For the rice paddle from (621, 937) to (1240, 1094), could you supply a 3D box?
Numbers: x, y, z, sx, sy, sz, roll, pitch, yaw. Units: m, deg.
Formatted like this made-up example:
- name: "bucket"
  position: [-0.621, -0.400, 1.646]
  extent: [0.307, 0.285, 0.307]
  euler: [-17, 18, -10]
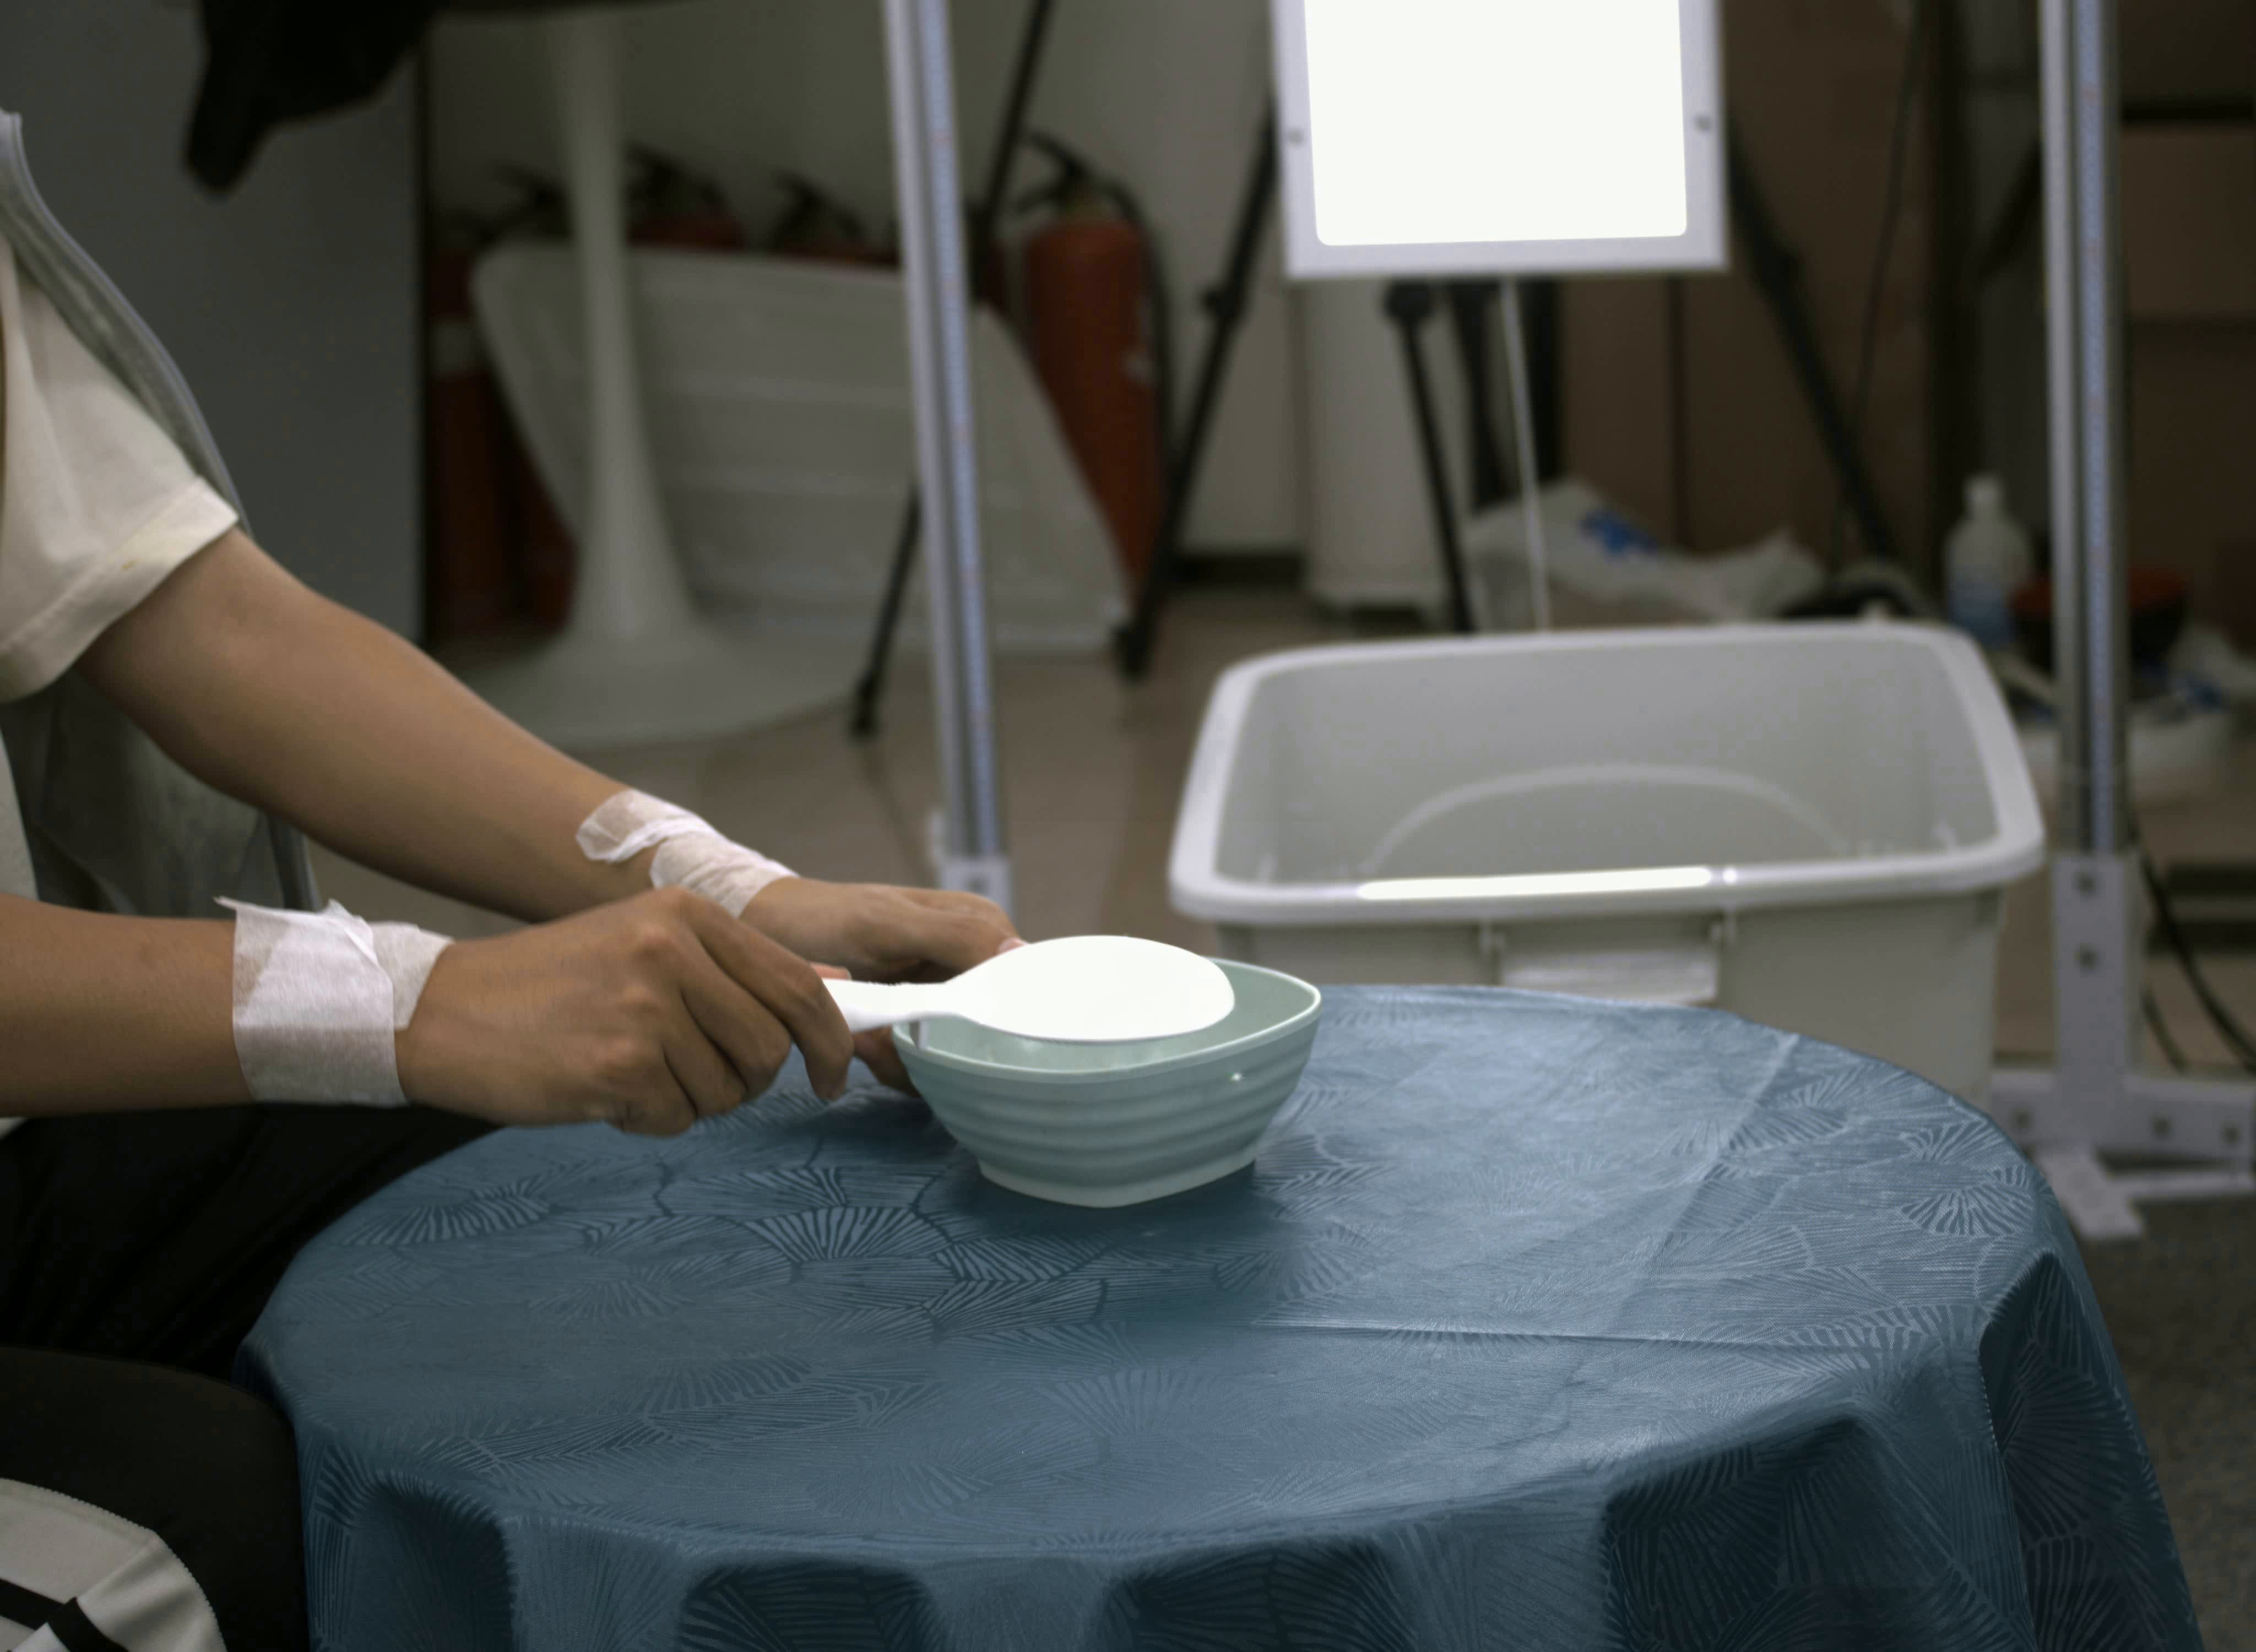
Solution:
- name: "rice paddle"
  position: [-0.061, 0.059, 1.774]
  extent: [0.202, 0.029, 0.069]
  euler: [-6, 29, -16]

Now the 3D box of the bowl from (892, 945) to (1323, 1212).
- name: "bowl"
  position: [-0.006, 0.091, 1.923]
  extent: [0.151, 0.059, 0.151]
  euler: [-4, 16, 0]
